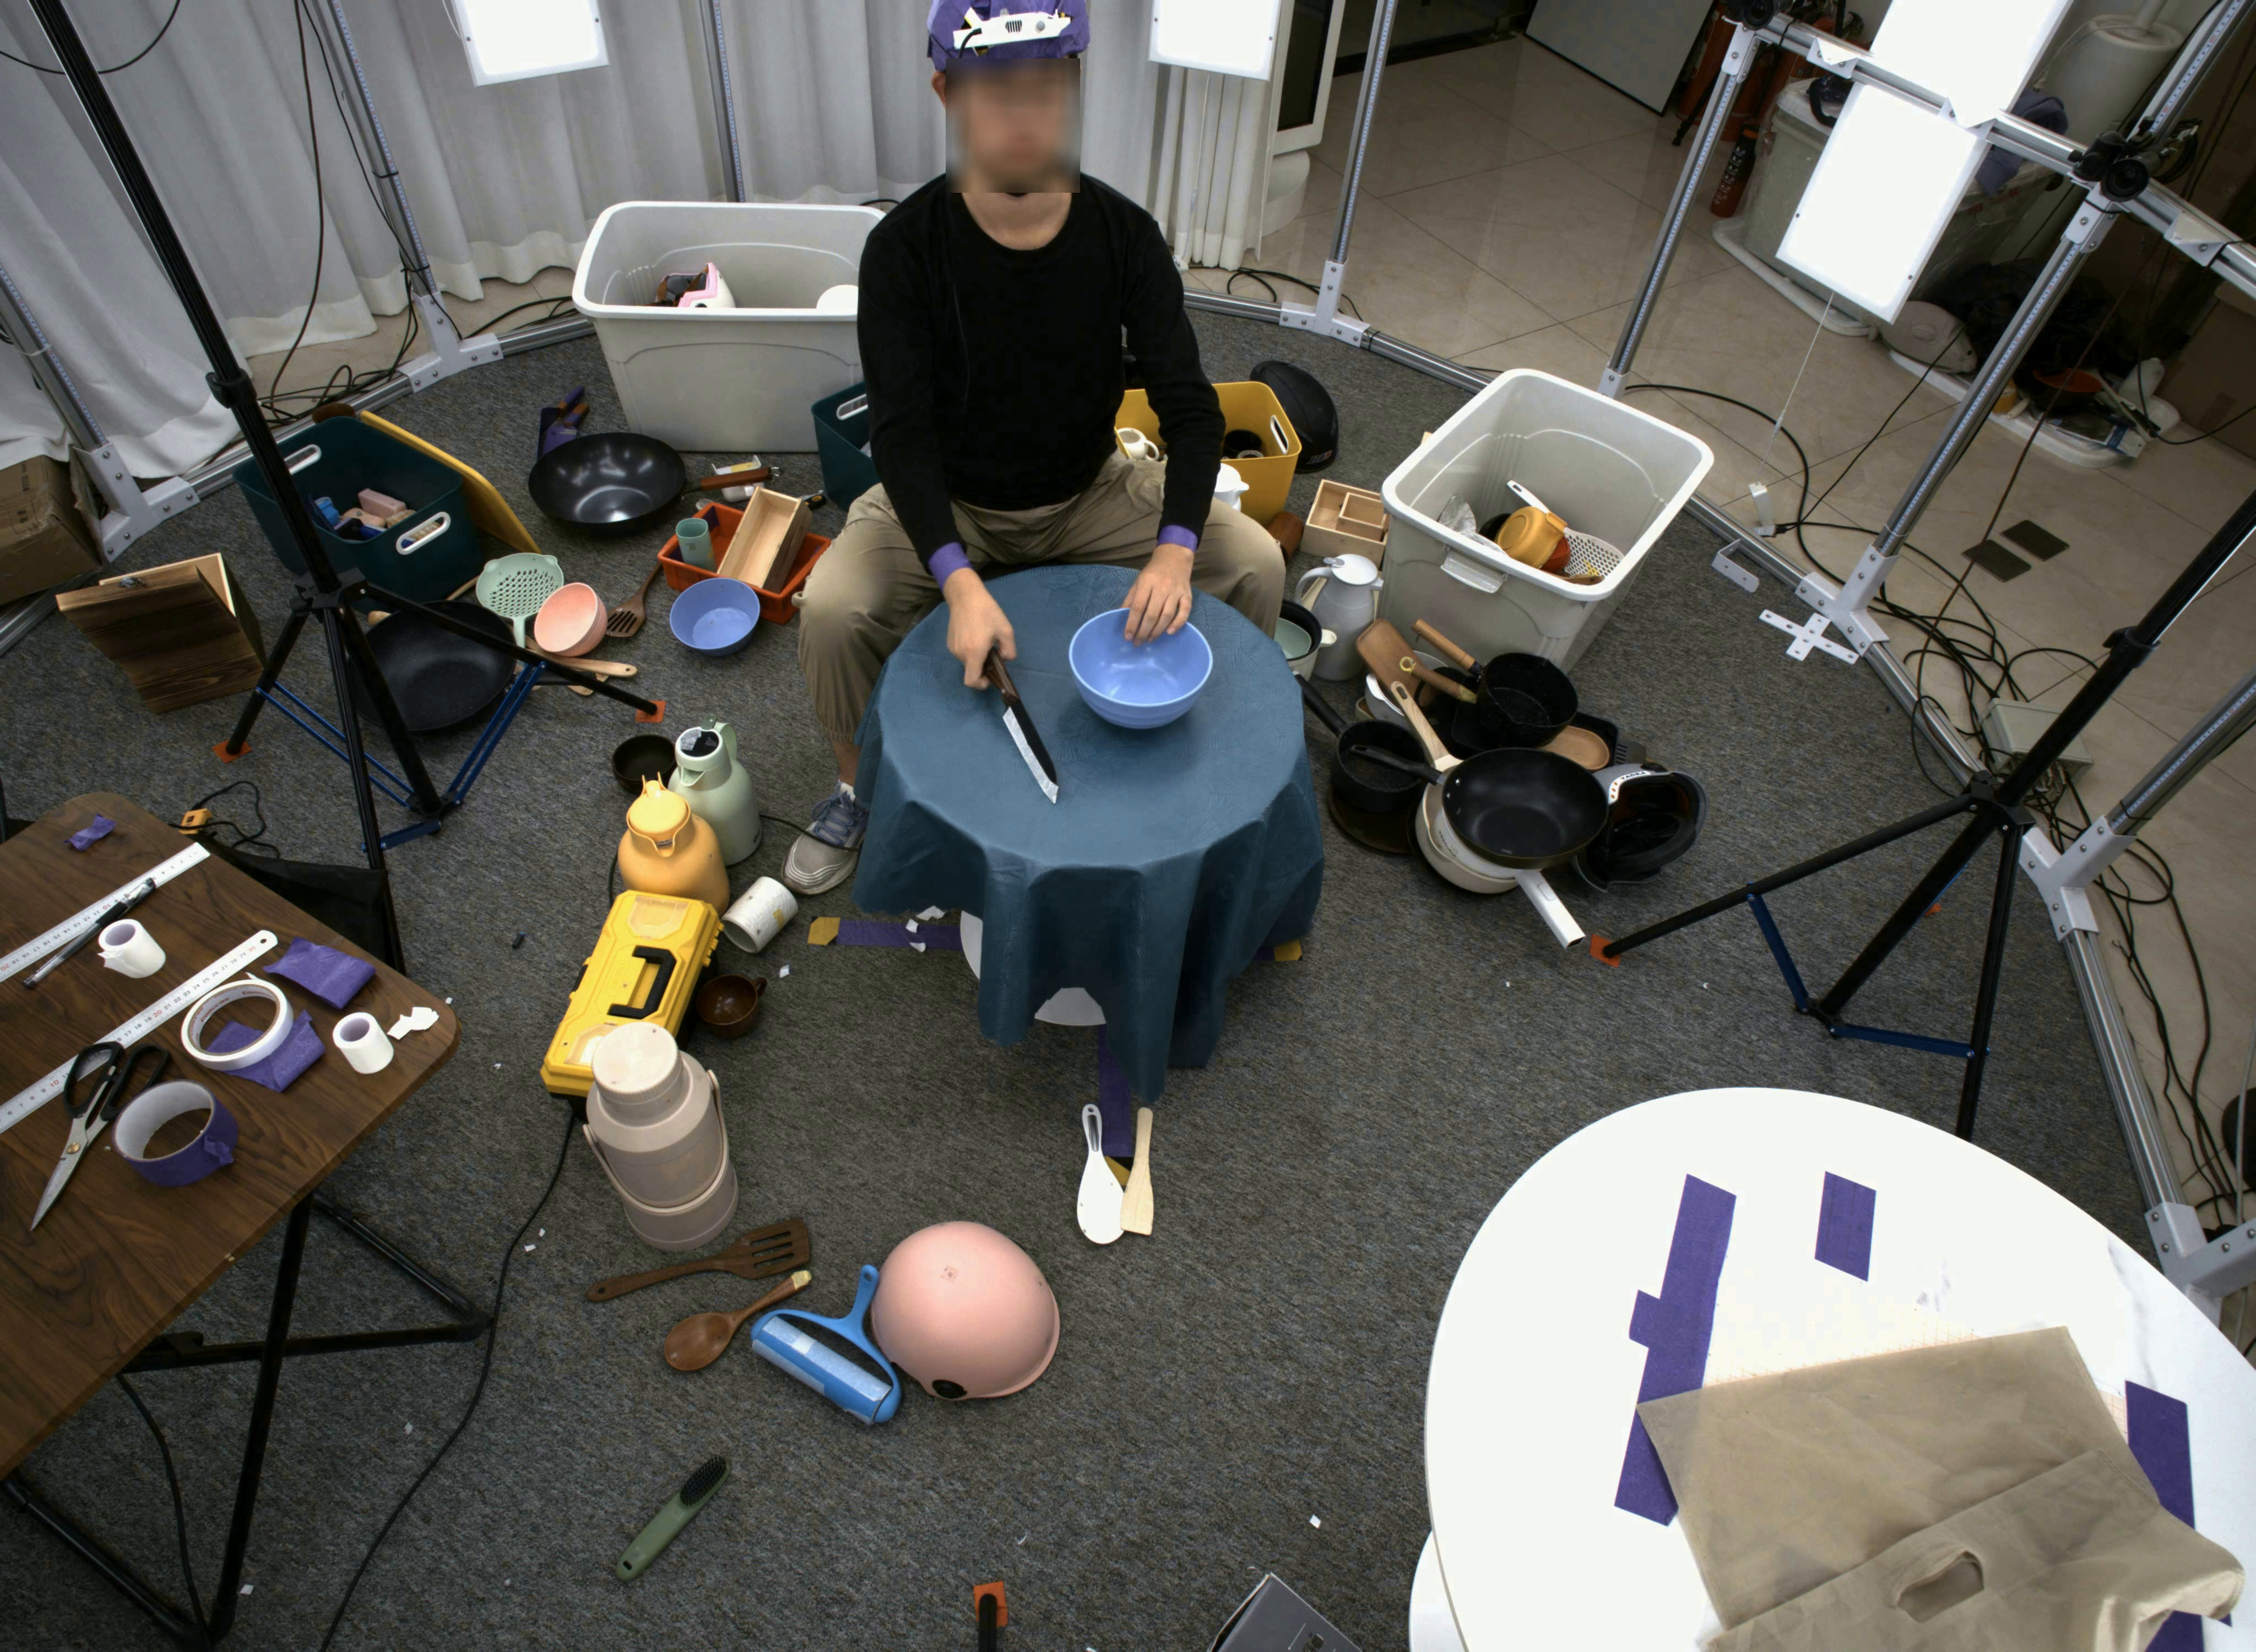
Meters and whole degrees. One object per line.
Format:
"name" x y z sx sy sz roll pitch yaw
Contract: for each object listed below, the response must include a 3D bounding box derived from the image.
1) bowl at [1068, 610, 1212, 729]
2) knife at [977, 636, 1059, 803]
"bowl" 0.015 -0.203 1.788 0.196 0.093 0.201 1 48 -1
"knife" -0.149 -0.148 1.752 0.020 0.049 0.295 5 49 -43
